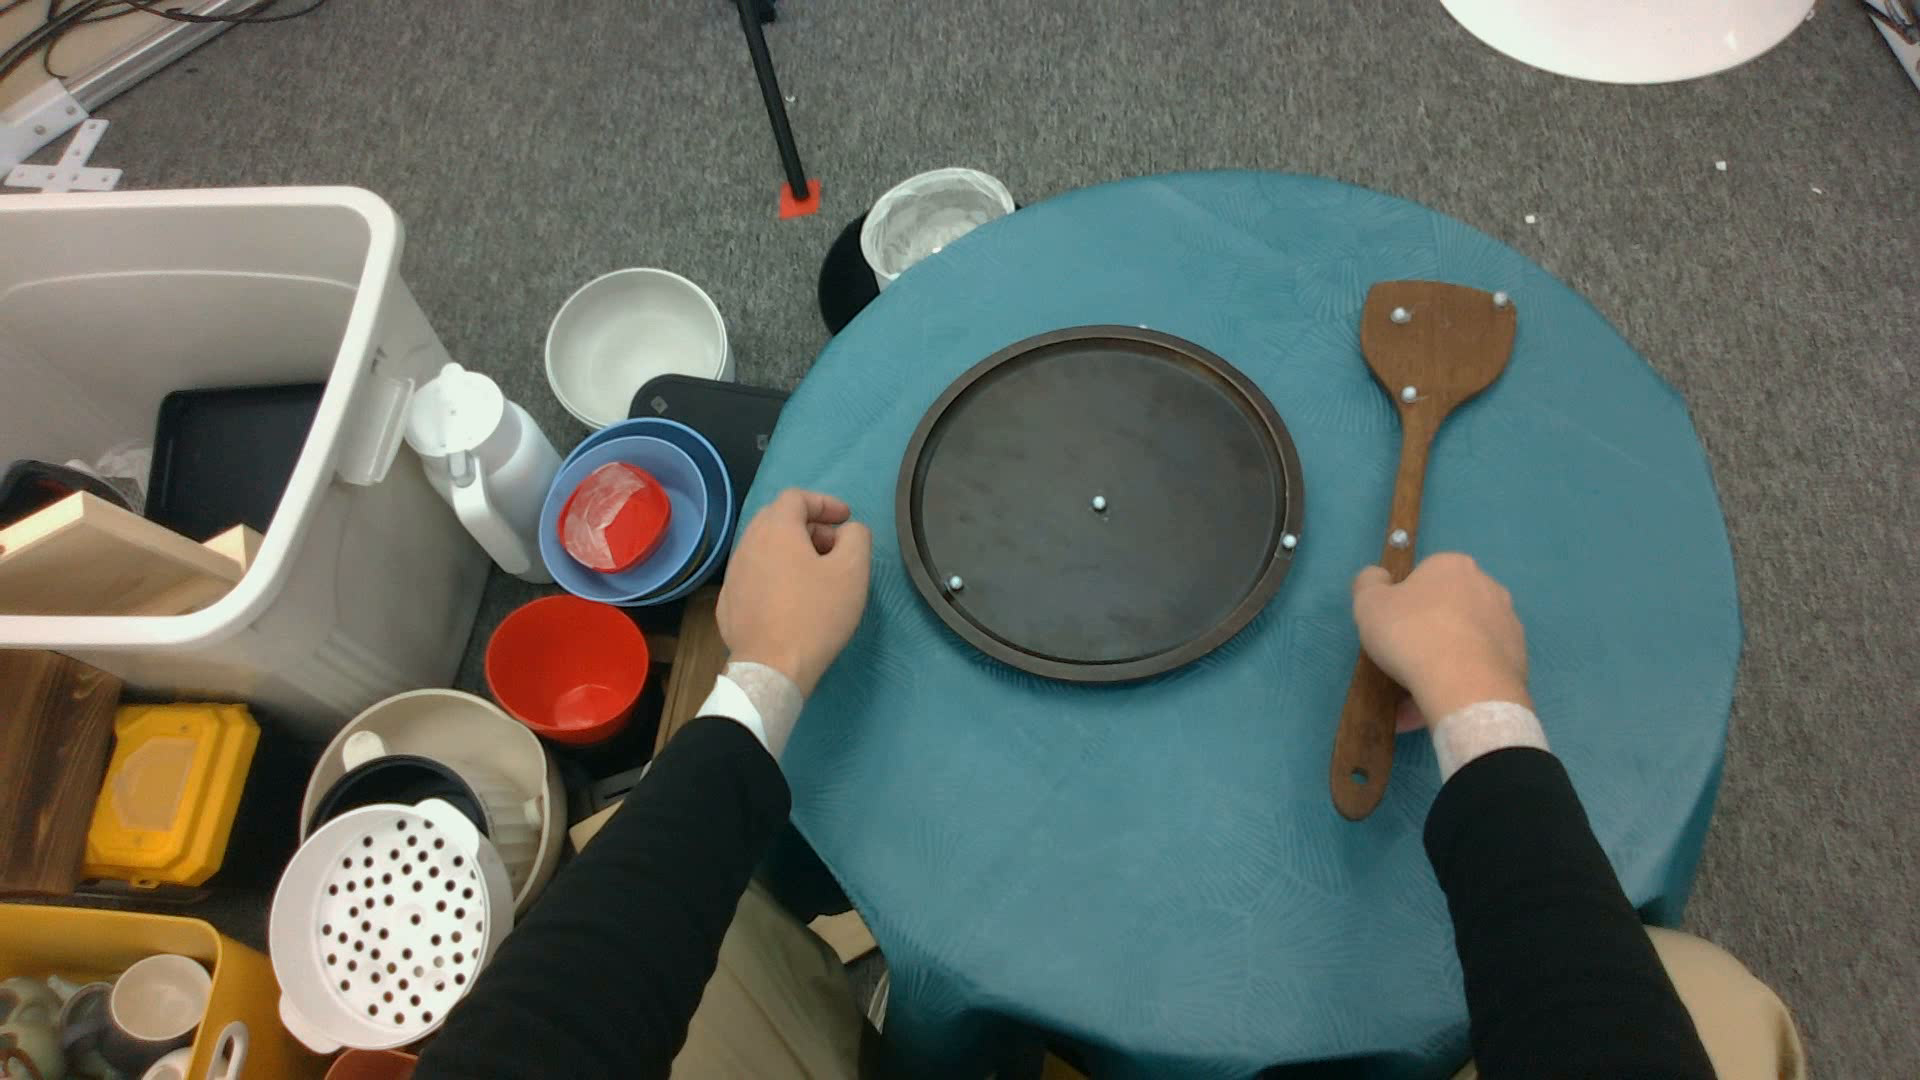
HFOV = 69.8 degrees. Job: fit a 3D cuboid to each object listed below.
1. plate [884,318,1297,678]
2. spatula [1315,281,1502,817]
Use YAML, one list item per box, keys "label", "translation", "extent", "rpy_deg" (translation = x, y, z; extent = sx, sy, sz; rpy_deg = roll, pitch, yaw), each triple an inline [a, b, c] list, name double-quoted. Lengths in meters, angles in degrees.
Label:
- label: "plate"
  translation: [0.079, -0.031, 0.855]
  extent: [0.254, 0.029, 0.256]
  rpy_deg: [-2, 62, 5]
- label: "spatula"
  translation: [0.254, -0.014, 0.812]
  extent: [0.096, 0.016, 0.388]
  rpy_deg: [12, 57, 14]
